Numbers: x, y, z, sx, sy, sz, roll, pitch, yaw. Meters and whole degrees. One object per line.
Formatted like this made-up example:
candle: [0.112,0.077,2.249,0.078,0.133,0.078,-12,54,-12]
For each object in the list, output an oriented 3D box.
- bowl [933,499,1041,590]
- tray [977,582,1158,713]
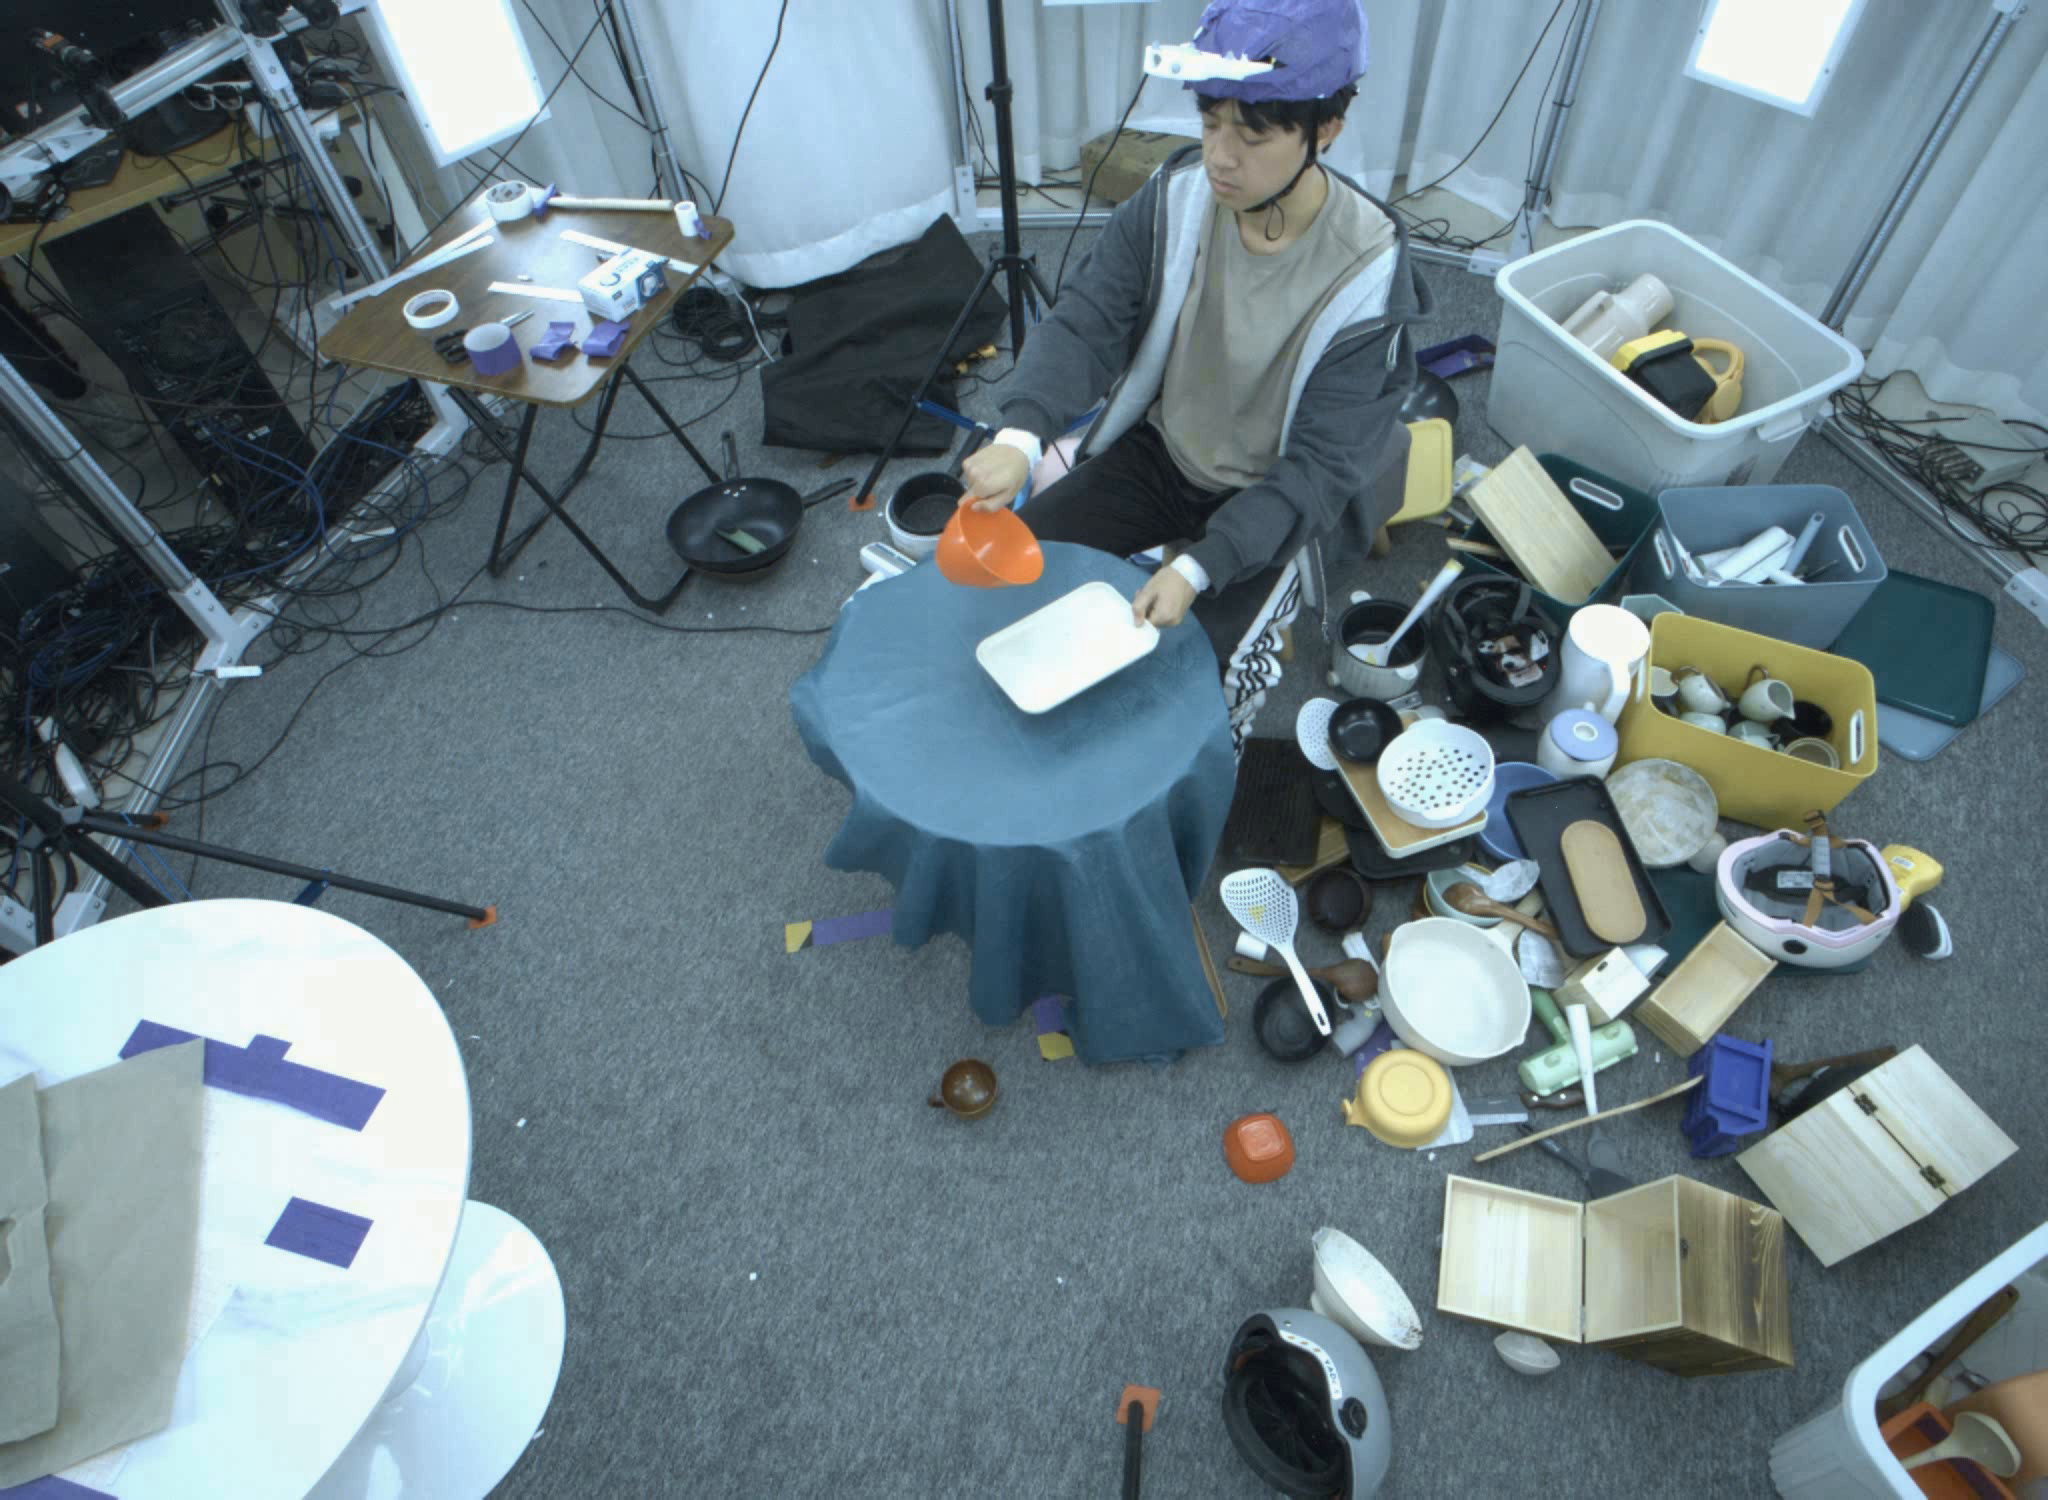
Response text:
bowl: [-0.065,-0.277,1.742,0.103,0.151,0.147,-25,45,36]
tray: [0.064,-0.151,1.805,0.241,0.018,0.168,-30,55,-16]
